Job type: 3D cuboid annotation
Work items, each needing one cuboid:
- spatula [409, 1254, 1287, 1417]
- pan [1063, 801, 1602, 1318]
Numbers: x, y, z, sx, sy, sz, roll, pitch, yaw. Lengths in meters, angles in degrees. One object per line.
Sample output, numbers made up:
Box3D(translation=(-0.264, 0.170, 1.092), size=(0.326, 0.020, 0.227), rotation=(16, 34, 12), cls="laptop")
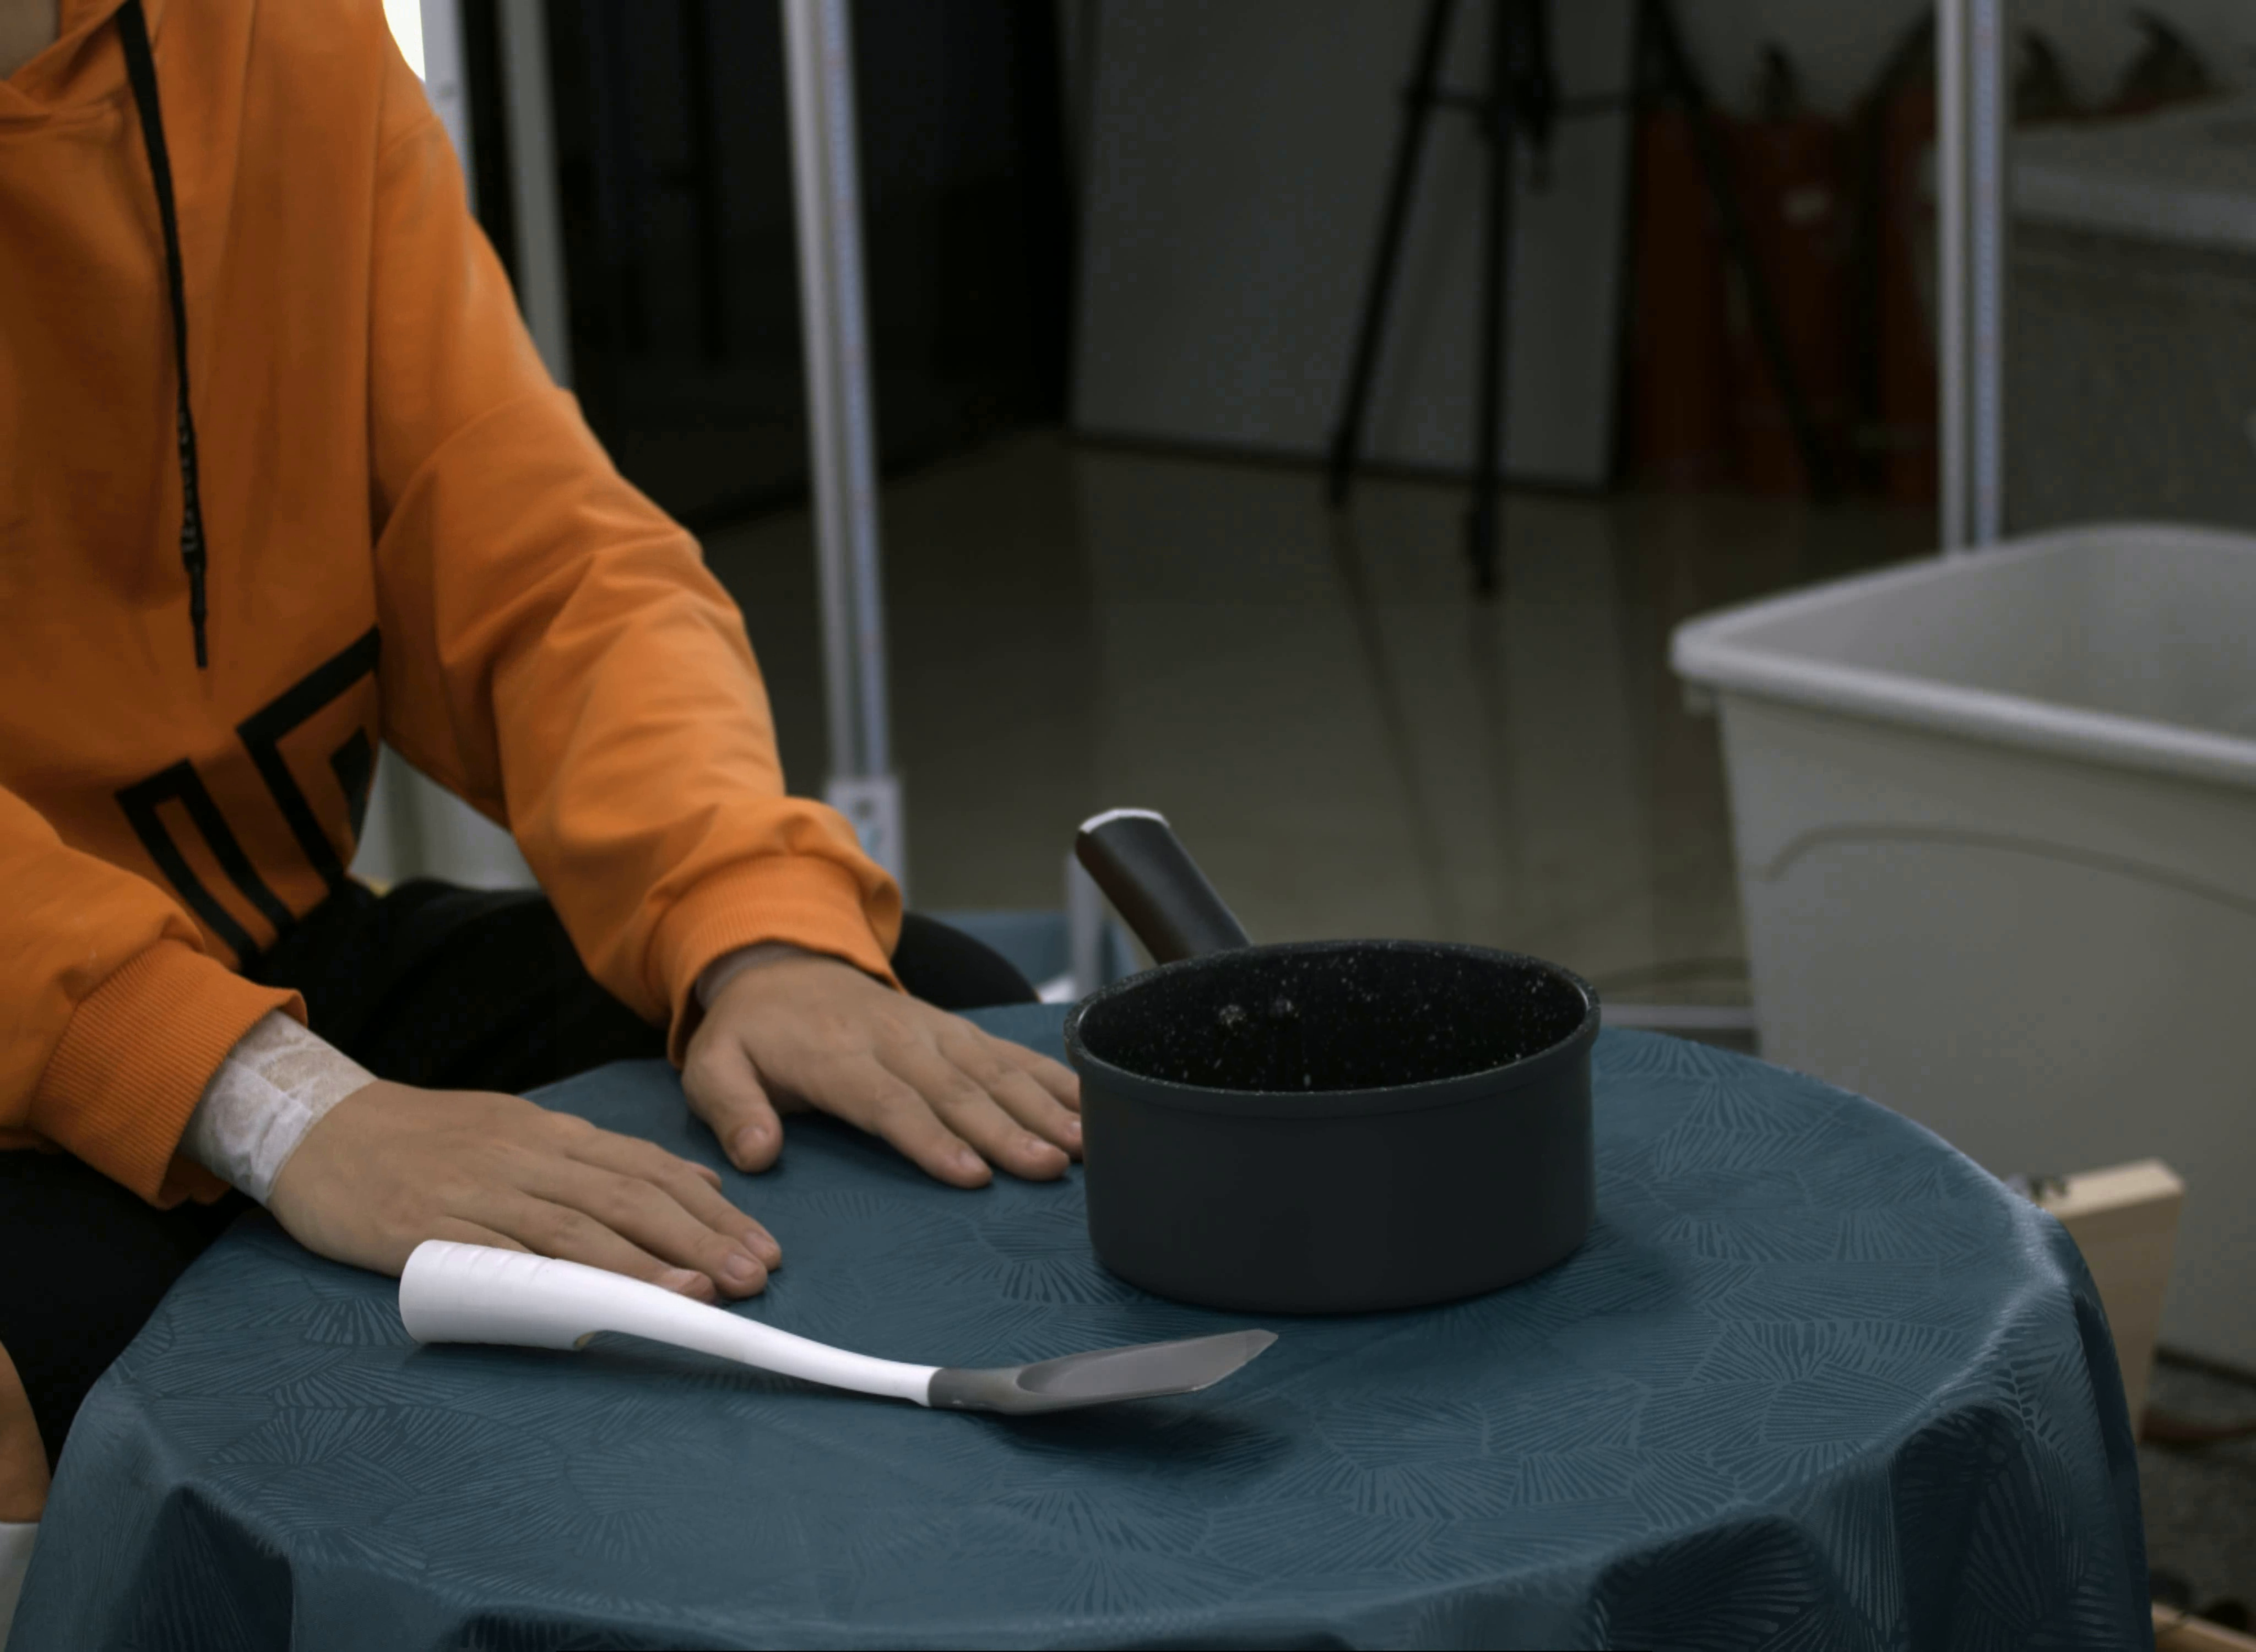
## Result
Box3D(translation=(-0.087, 0.153, 1.599), size=(0.288, 0.032, 0.058), rotation=(3, 11, 29), cls="spatula")
Box3D(translation=(0.047, 0.073, 1.775), size=(0.169, 0.087, 0.331), rotation=(-6, 15, -12), cls="pan")
